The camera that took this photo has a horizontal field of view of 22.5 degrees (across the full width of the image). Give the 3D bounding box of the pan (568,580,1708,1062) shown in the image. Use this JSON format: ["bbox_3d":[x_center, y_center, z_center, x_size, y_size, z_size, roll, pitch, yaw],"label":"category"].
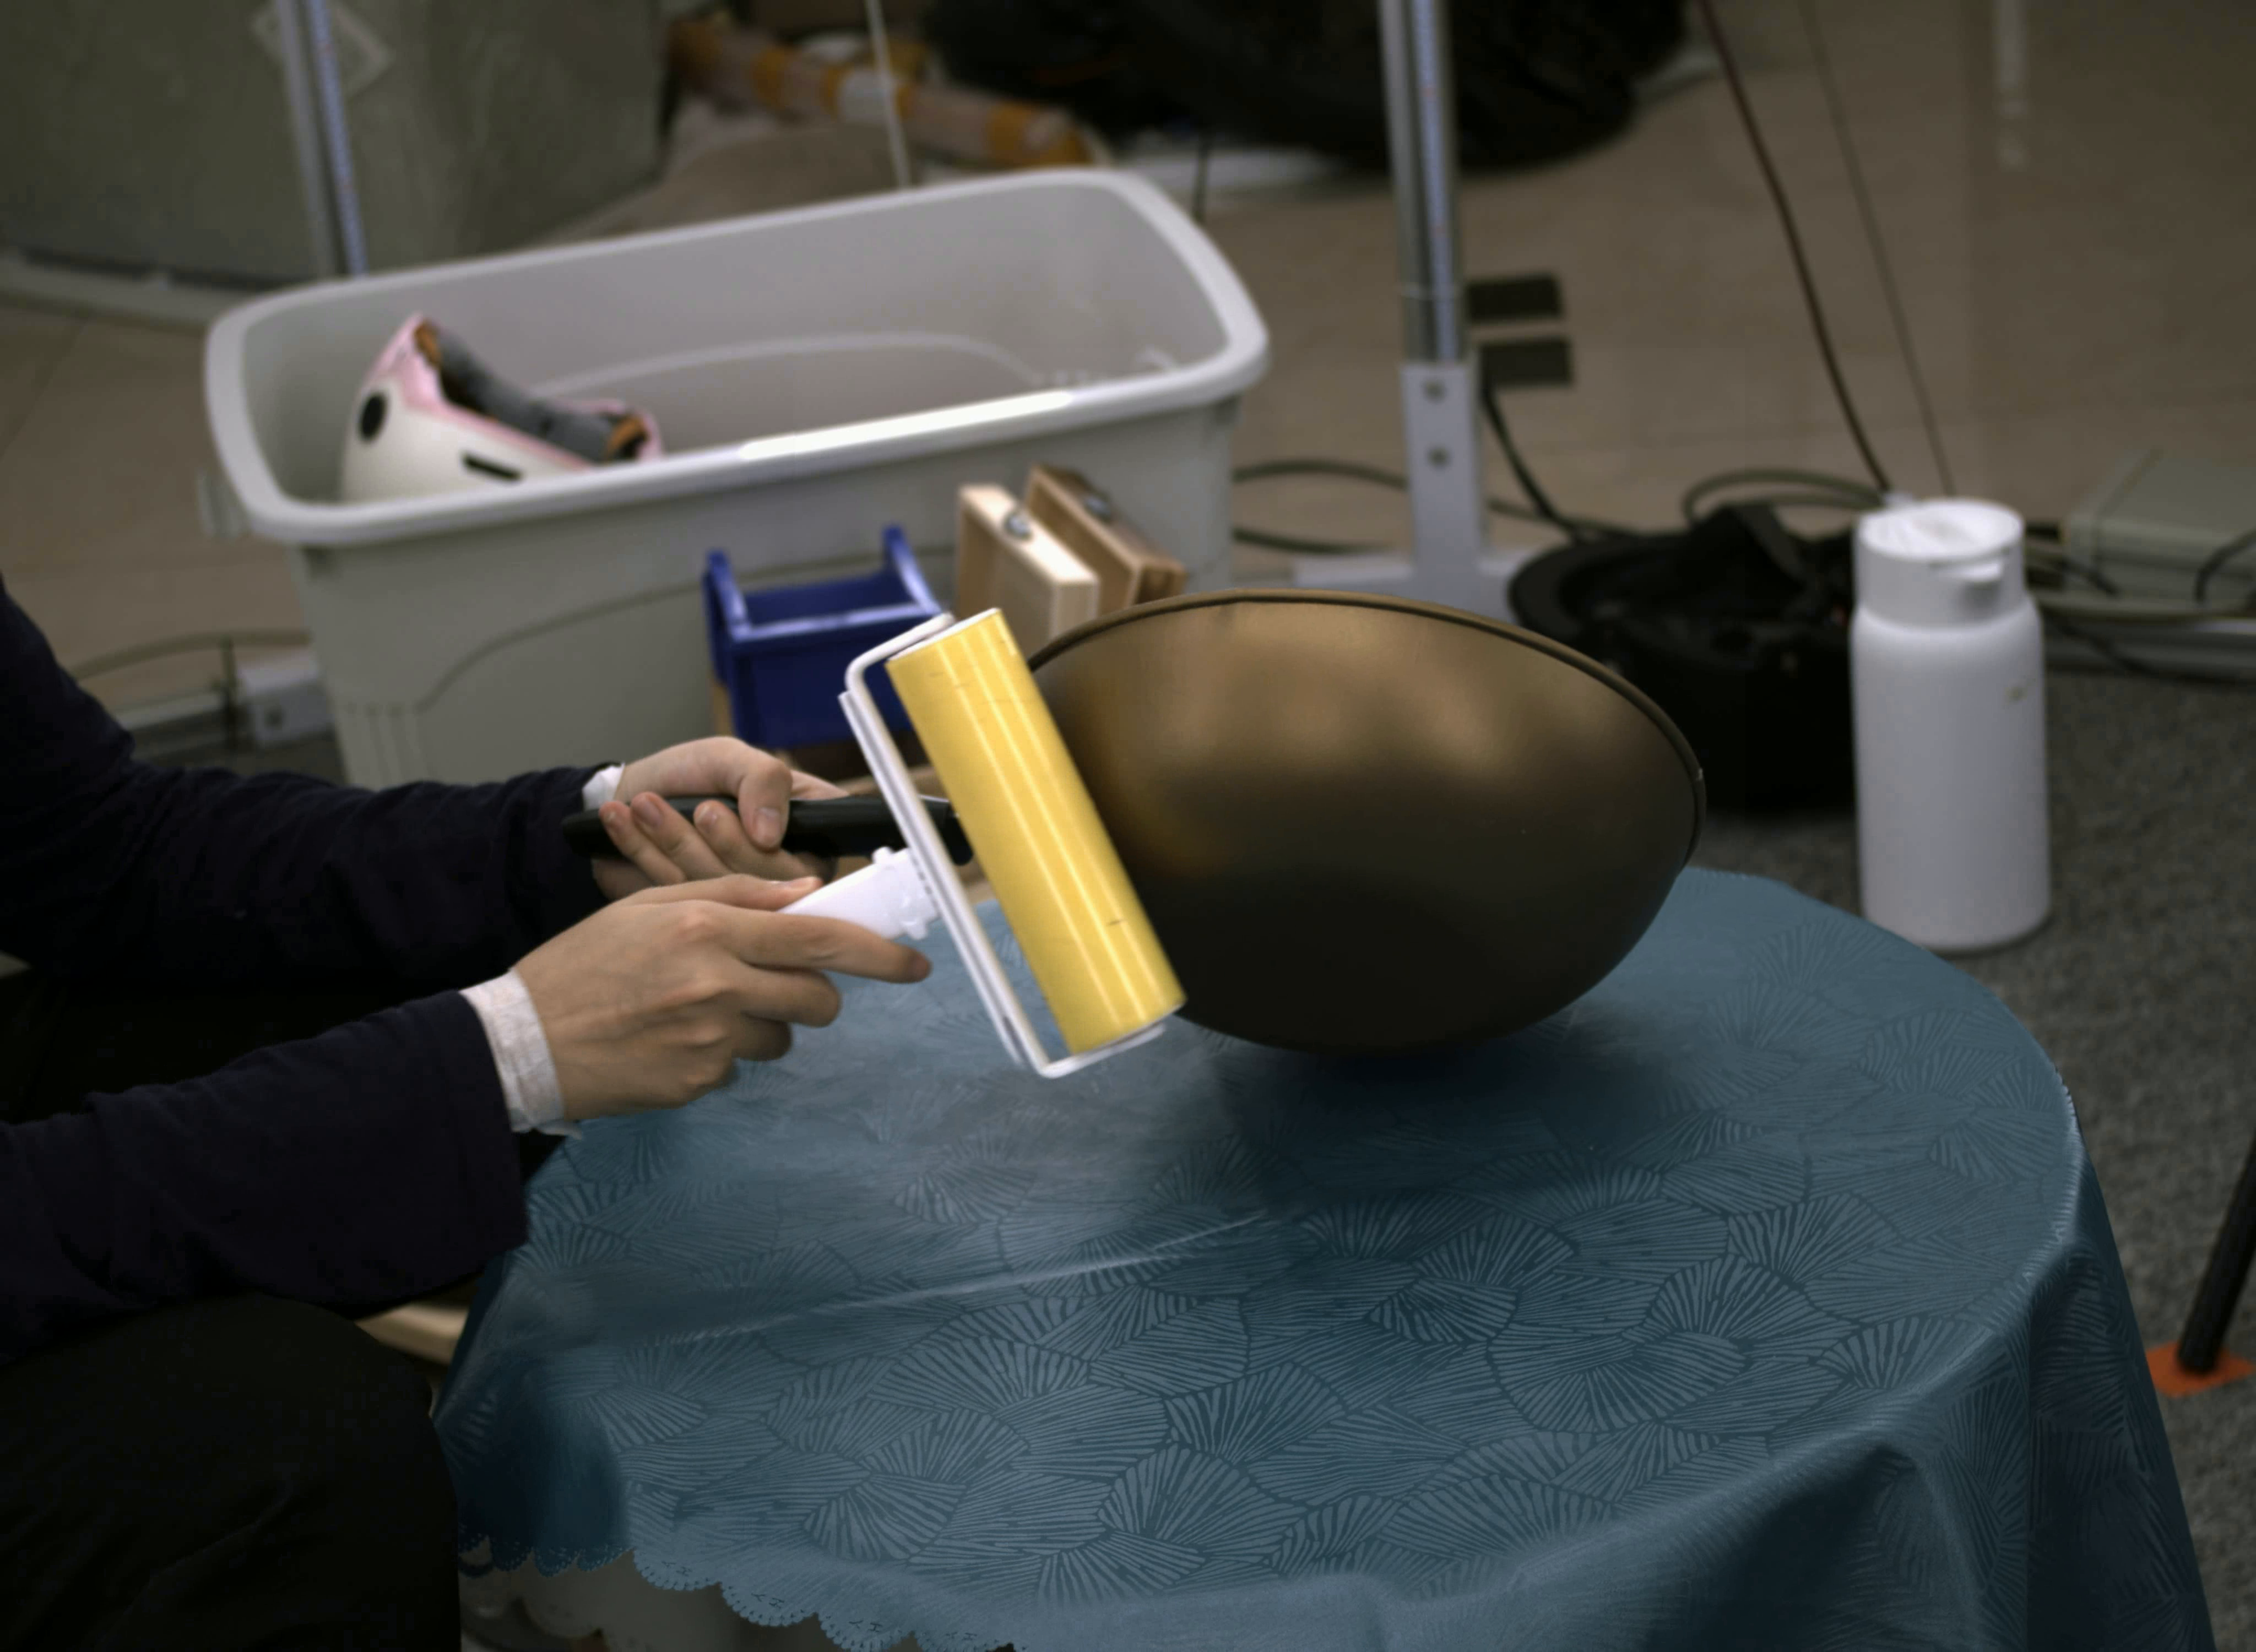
[{"bbox_3d":[-0.010,0.020,2.174,0.462,0.293,0.085,-3,59,19],"label":"pan"}]

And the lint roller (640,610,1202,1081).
[{"bbox_3d":[-0.093,0.035,2.079,0.192,0.175,0.051,-26,7,2],"label":"lint roller"}]
